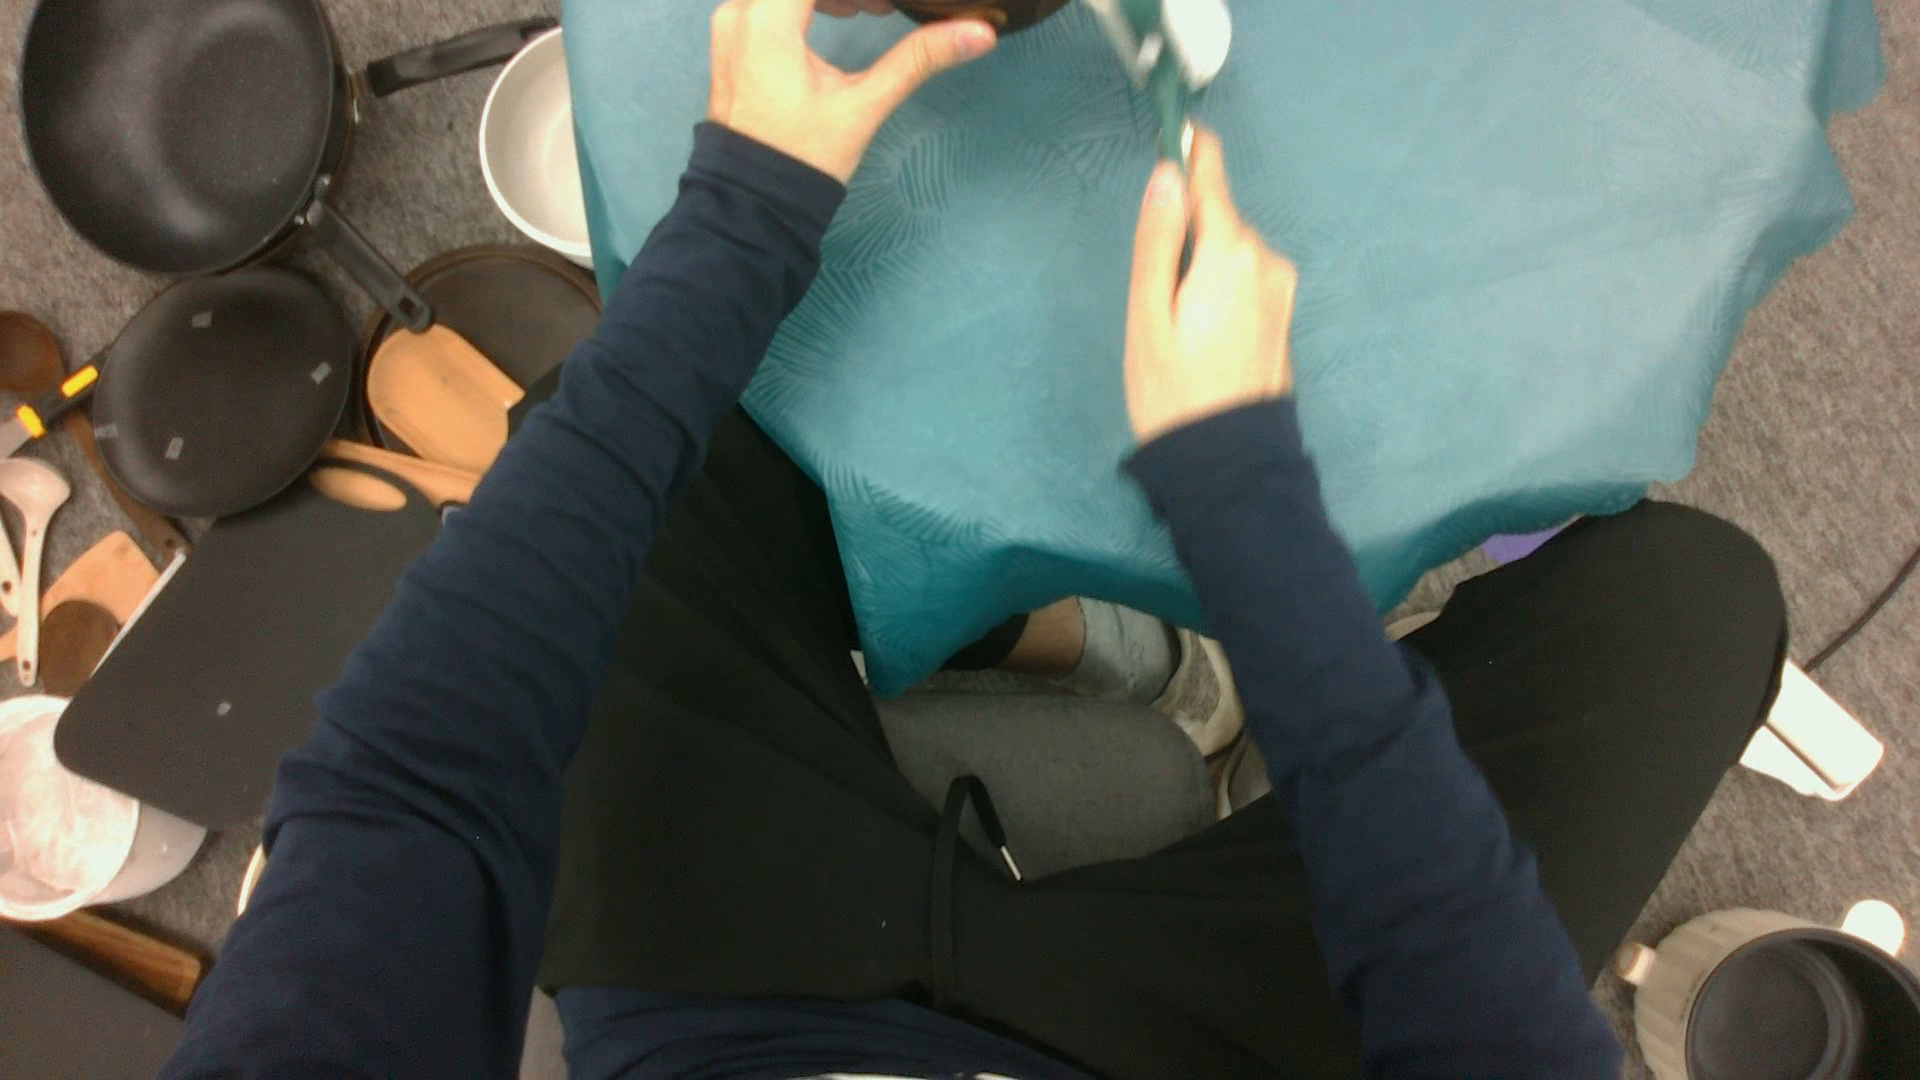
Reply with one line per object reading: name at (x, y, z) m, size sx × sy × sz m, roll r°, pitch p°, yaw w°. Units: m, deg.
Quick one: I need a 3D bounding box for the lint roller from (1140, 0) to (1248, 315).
lint roller at (0.095, -0.183, 0.559) m, size 0.048 × 0.134 × 0.180 m, roll -2°, pitch 91°, yaw 21°

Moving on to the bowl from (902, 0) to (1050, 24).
bowl at (0.011, -0.273, 0.576) m, size 0.118 × 0.070 × 0.118 m, roll -1°, pitch 87°, yaw 20°
